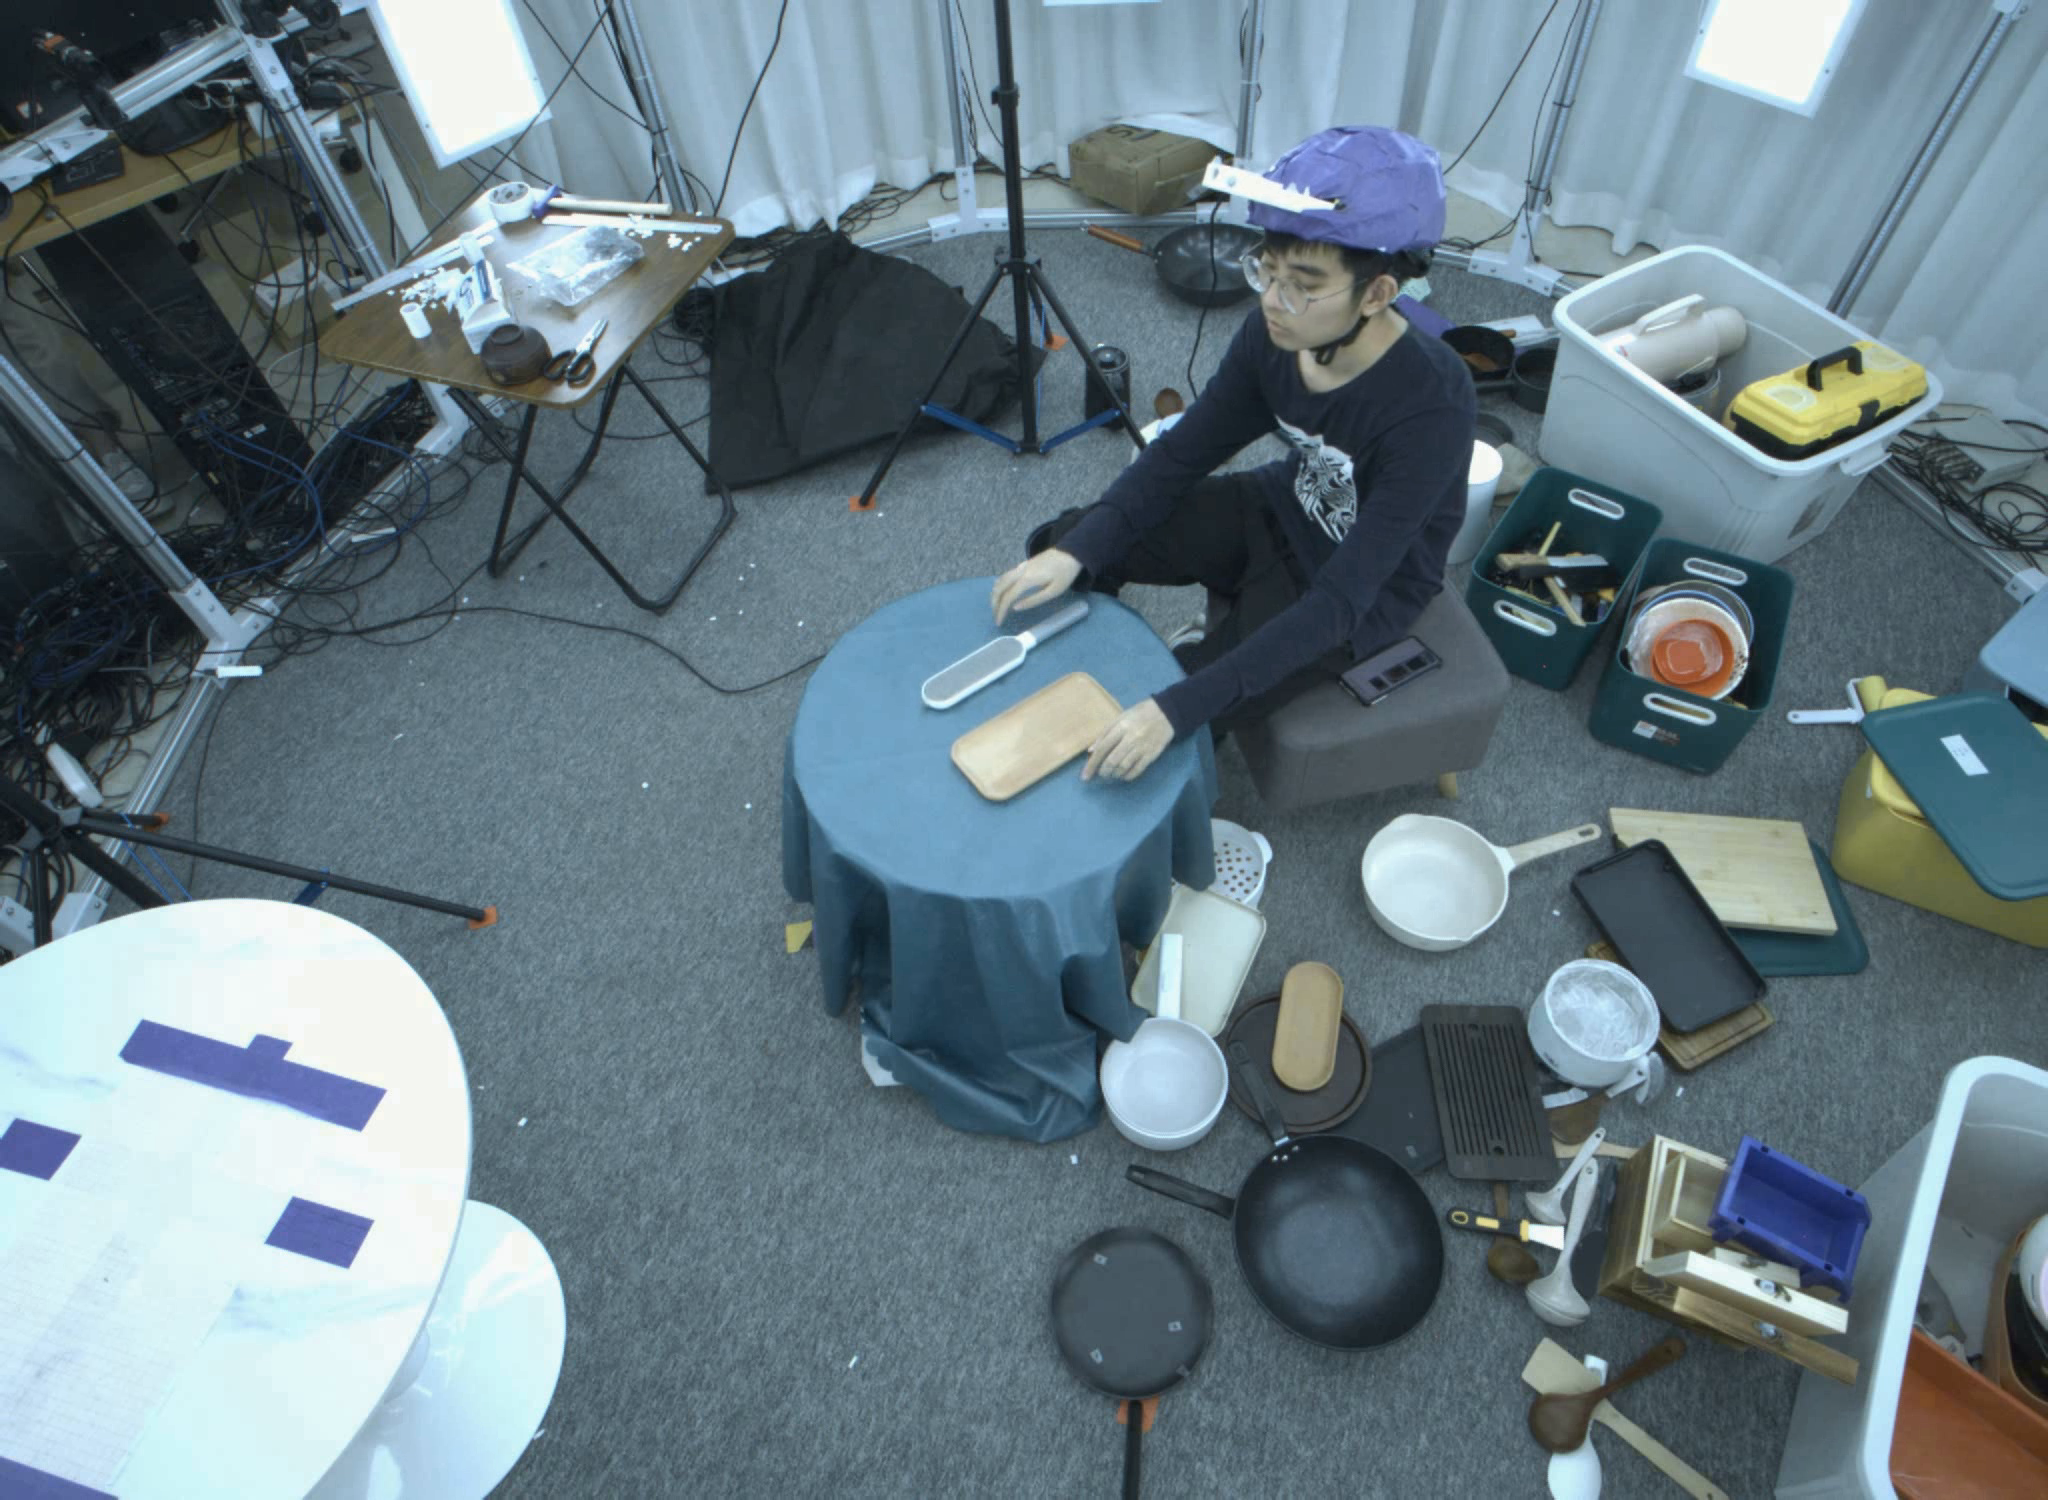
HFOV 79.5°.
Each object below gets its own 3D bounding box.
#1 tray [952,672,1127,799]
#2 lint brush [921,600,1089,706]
[{"bbox_3d":[0.024,-0.022,1.800,0.253,0.023,0.128,-29,61,-19],"label":"tray"},{"bbox_3d":[-0.025,-0.152,1.888,0.311,0.021,0.059,-32,55,-20],"label":"lint brush"}]
